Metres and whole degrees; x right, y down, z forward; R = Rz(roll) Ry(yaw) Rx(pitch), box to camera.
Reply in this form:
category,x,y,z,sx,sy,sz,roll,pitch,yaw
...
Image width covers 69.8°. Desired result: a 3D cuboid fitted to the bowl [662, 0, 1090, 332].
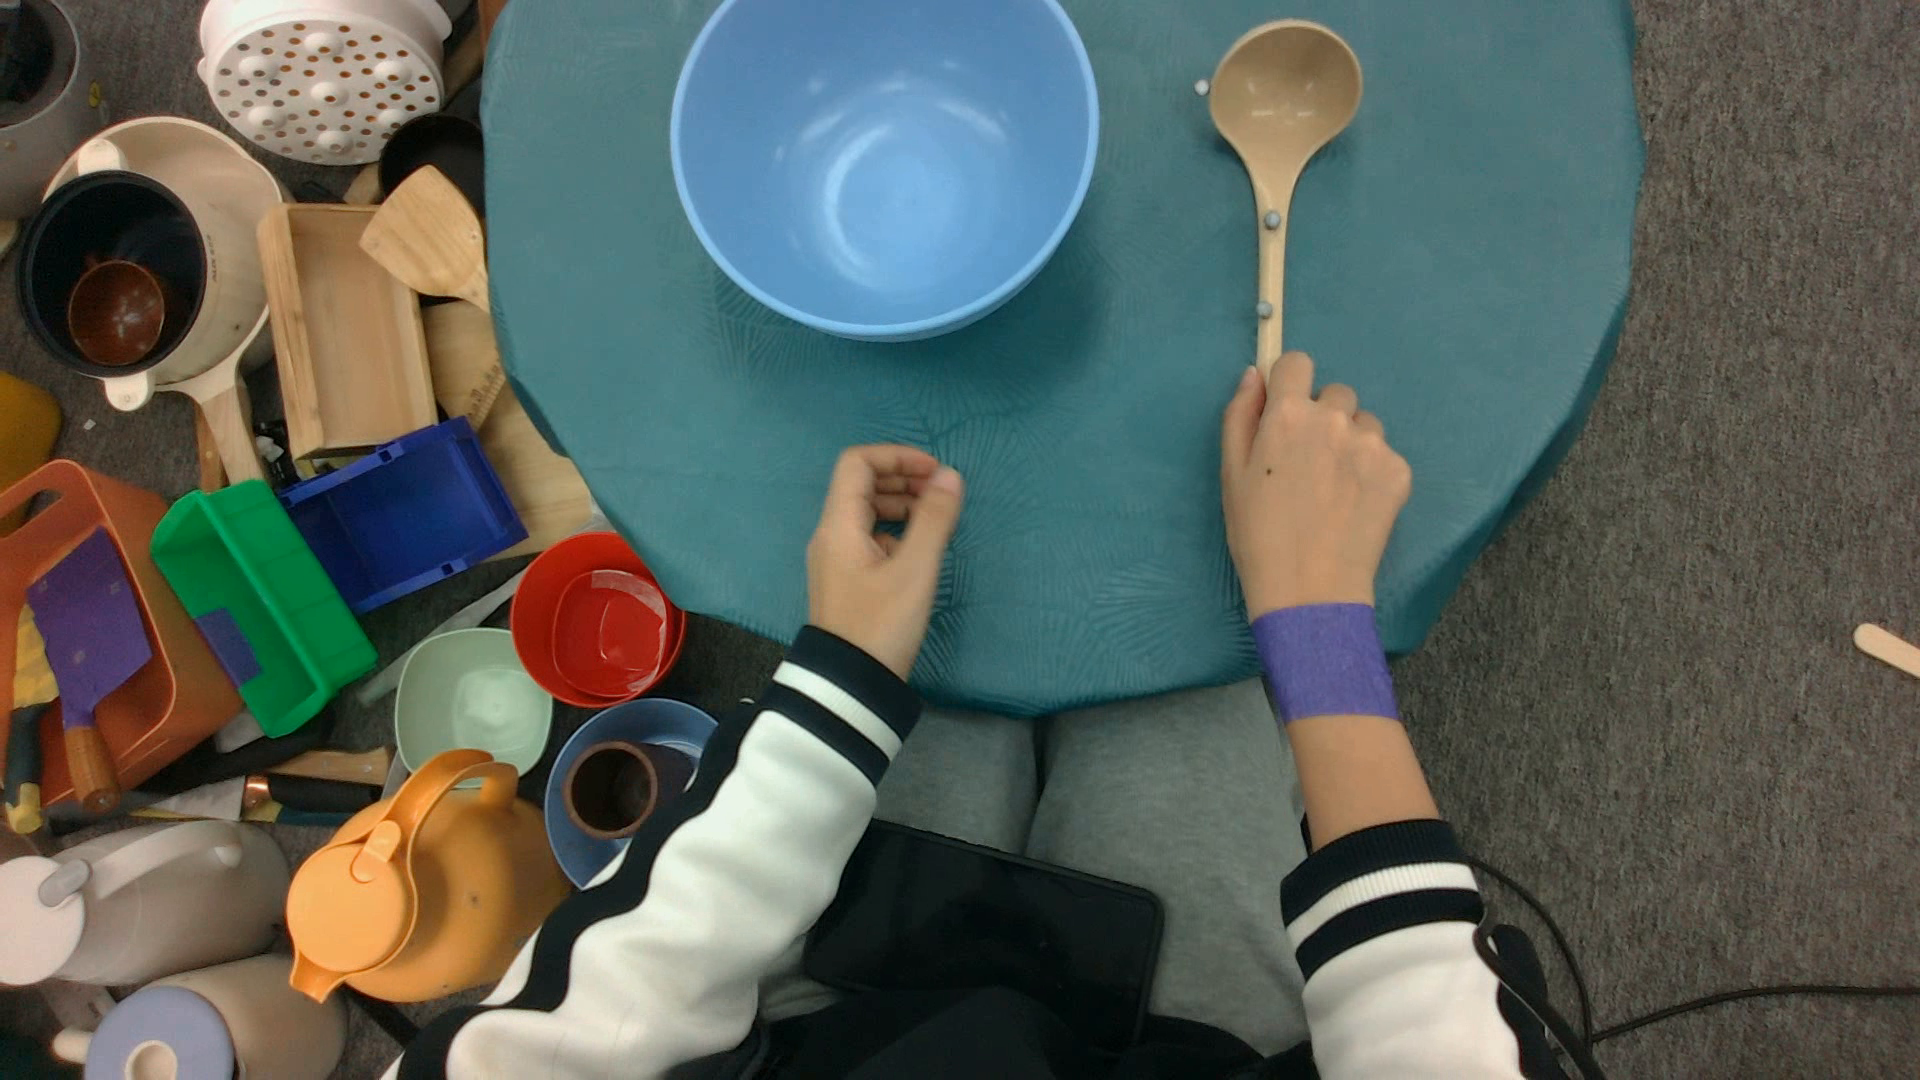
category,x,y,z,sx,sy,sz,roll,pitch,yaw
bowl,-0.037,-0.186,0.674,0.196,0.095,0.197,0,81,2

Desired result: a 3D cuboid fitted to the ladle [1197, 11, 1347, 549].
category,x,y,z,sx,sy,sz,roll,pitch,yaw
ladle,0.150,-0.126,0.659,0.072,0.073,0.255,1,81,5
